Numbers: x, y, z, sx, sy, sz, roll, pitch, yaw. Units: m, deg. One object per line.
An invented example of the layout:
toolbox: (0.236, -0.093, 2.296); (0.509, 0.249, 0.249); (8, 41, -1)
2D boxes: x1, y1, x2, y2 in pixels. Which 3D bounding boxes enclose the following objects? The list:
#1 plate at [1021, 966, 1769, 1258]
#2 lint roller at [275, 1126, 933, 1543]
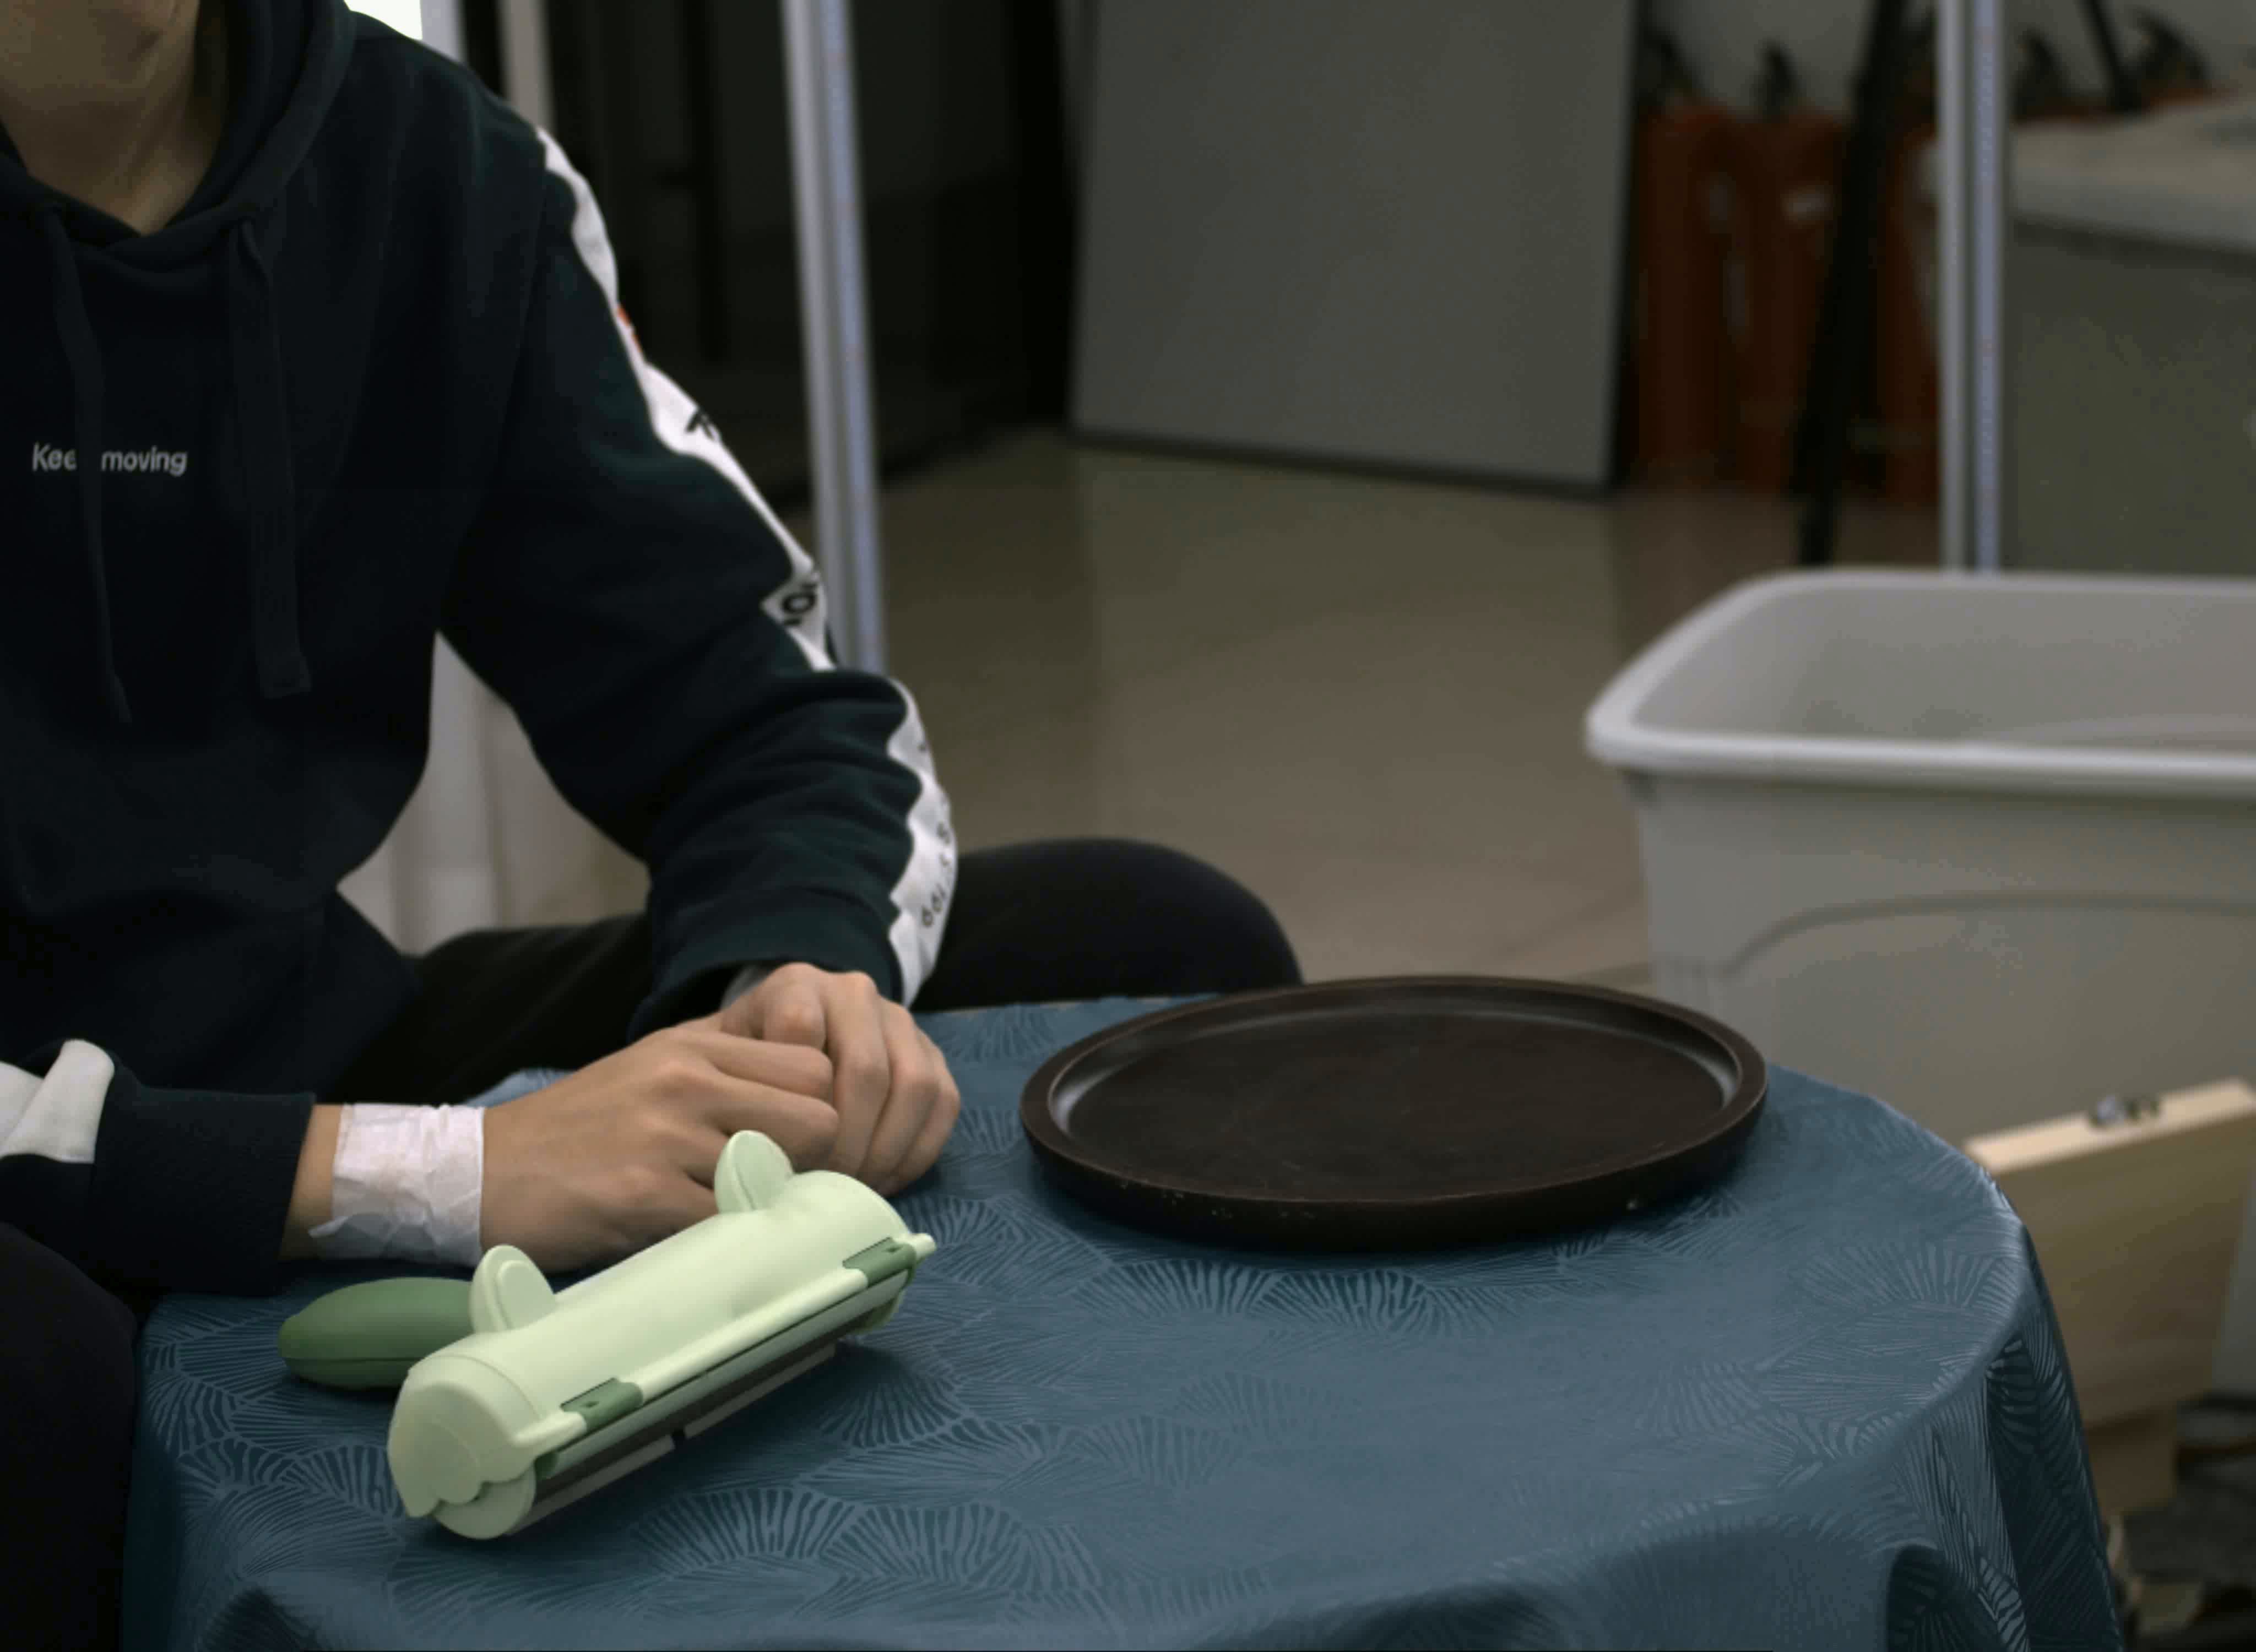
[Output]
plate: (0.089, 0.096, 1.798); (0.251, 0.029, 0.255); (-5, 15, 0)
lint roller: (-0.182, 0.137, 1.594); (0.184, 0.083, 0.195); (9, 19, 33)
